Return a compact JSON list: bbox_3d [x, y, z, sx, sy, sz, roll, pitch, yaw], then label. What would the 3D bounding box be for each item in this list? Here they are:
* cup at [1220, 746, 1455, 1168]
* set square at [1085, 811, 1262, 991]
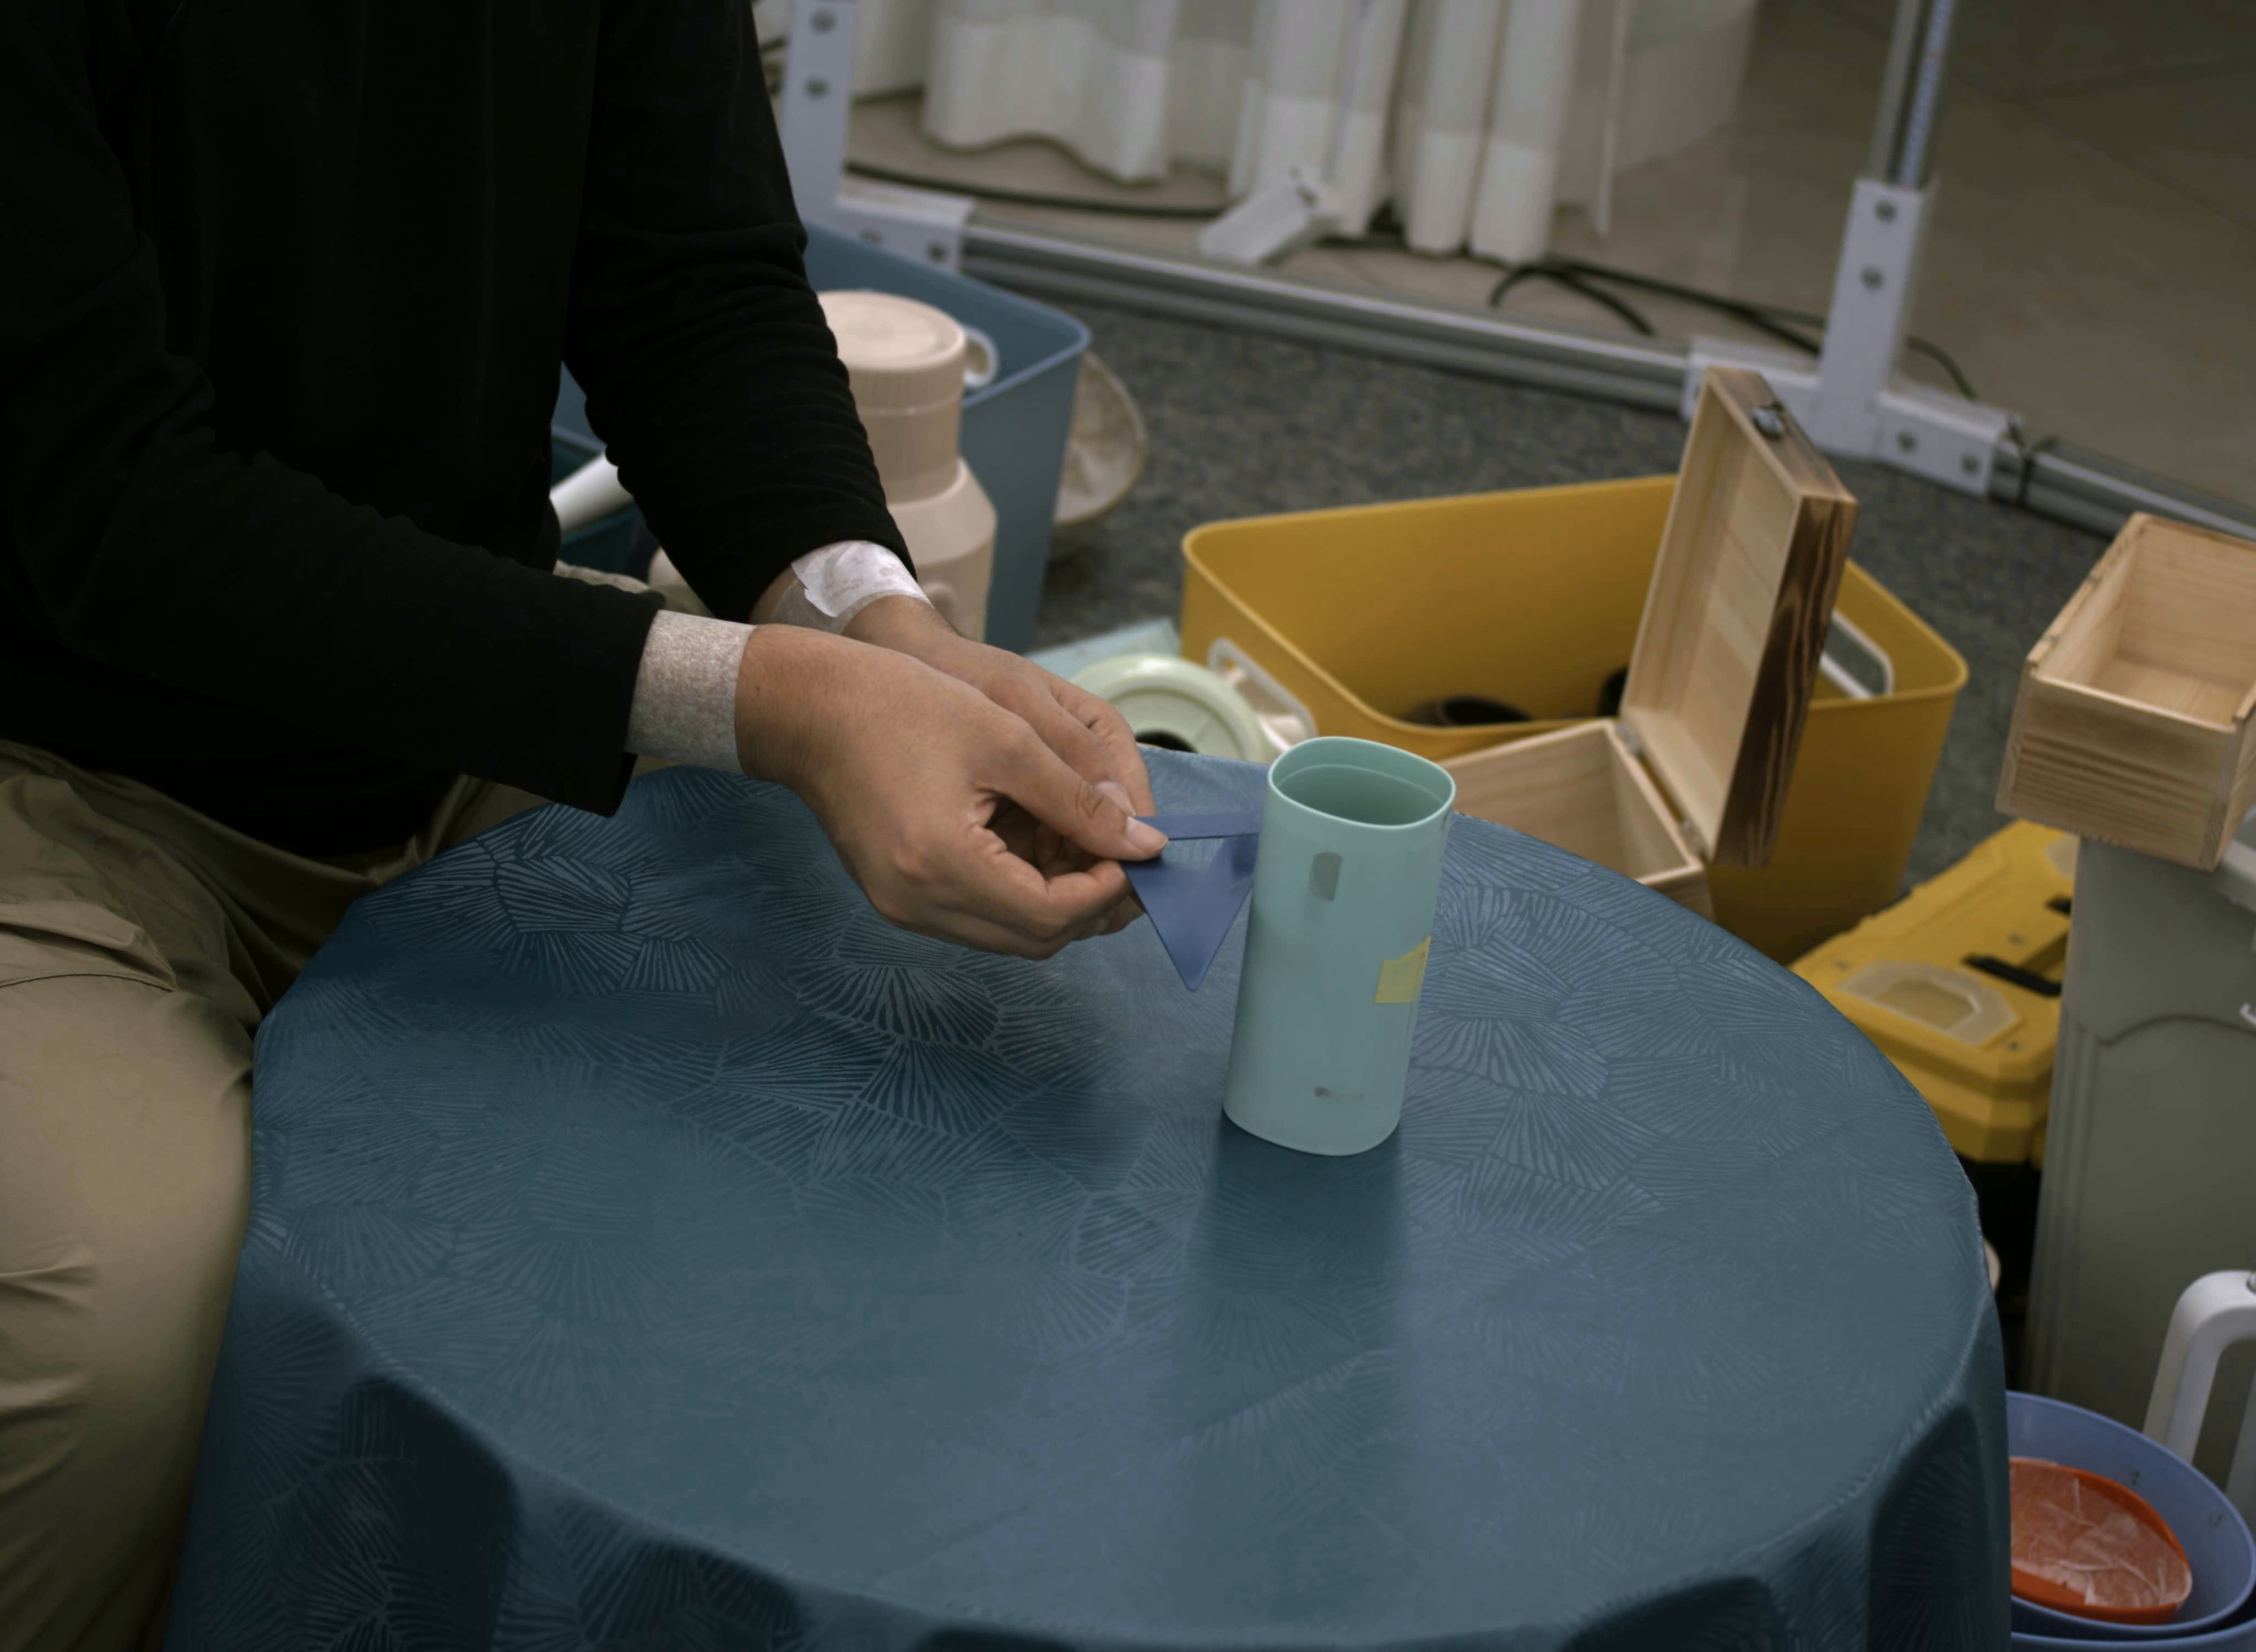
[{"bbox_3d":[0.070,0.045,1.837,0.066,0.132,0.067,6,27,-3],"label":"cup"},{"bbox_3d":[0.002,0.020,1.815,0.061,0.006,0.132,15,30,14],"label":"set square"}]
